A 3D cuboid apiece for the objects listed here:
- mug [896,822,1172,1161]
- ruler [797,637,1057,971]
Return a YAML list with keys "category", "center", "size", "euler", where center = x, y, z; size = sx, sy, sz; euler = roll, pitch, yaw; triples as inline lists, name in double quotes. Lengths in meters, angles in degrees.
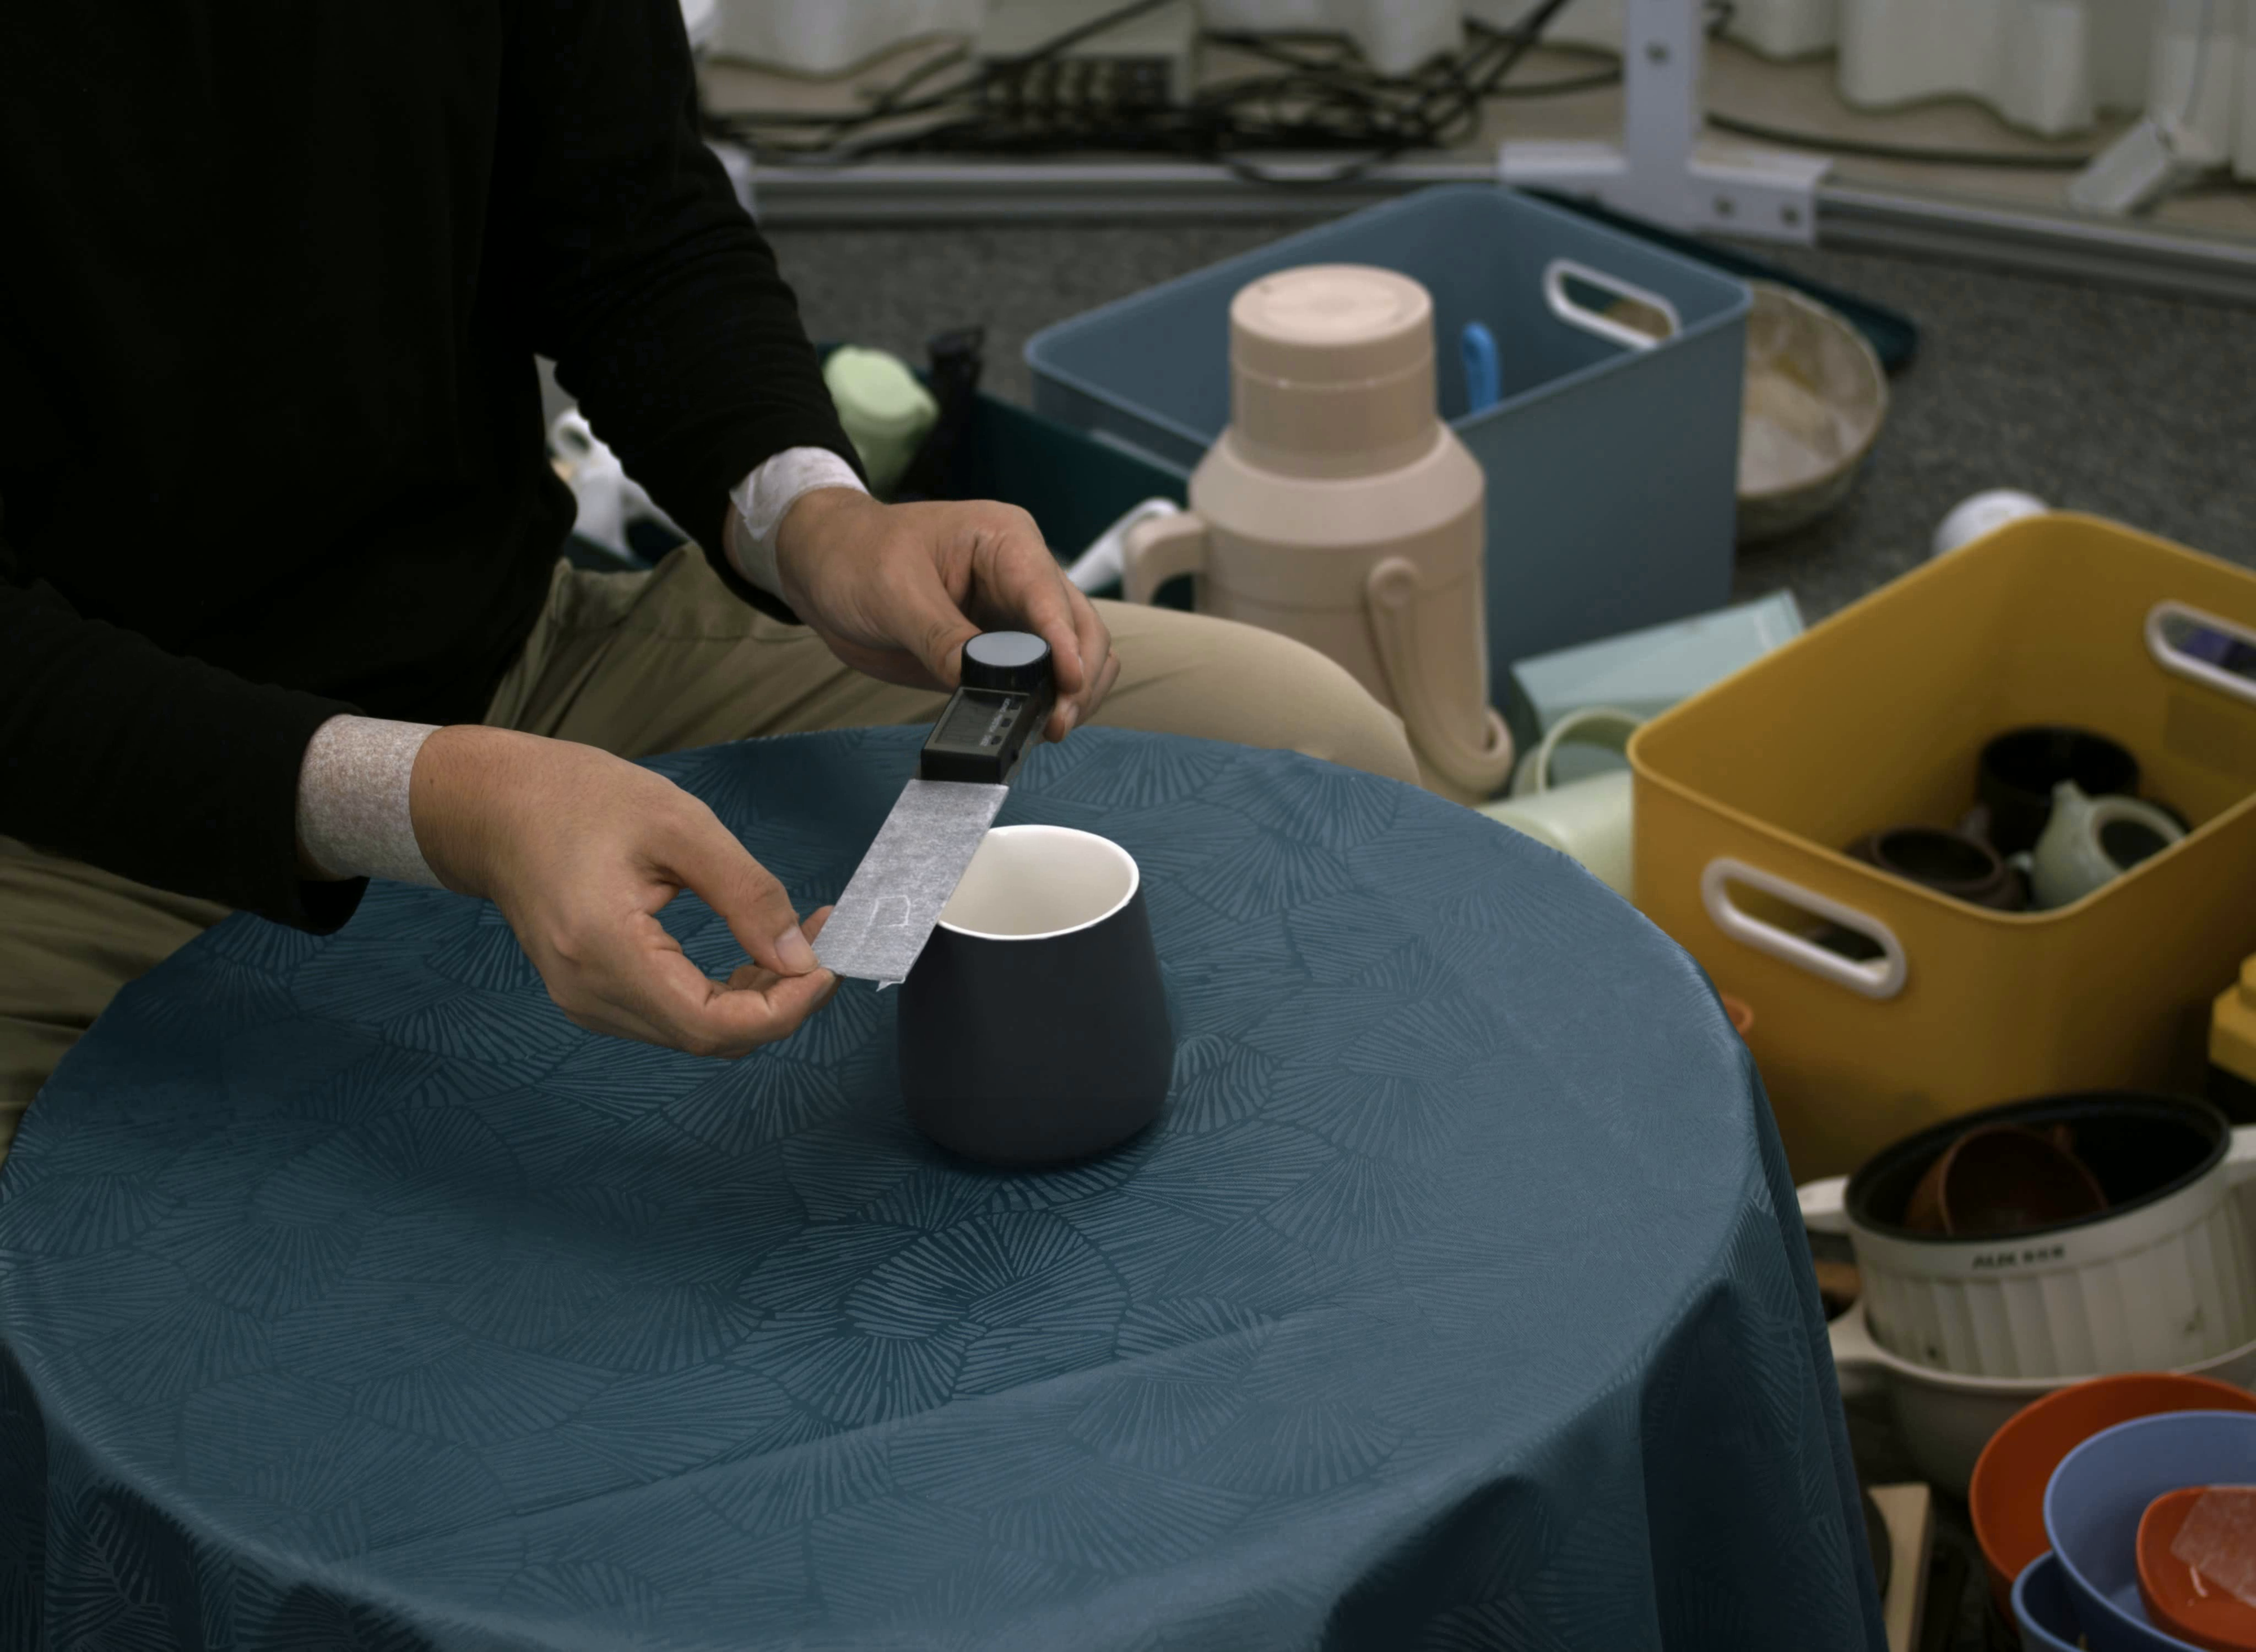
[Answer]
- category: "mug"
  center: [-0.041, 0.051, 1.902]
  size: [0.094, 0.089, 0.123]
  euler: [-19, 32, -30]
- category: "ruler"
  center: [-0.065, -0.010, 1.902]
  size: [0.038, 0.024, 0.222]
  euler: [0, 26, 15]
